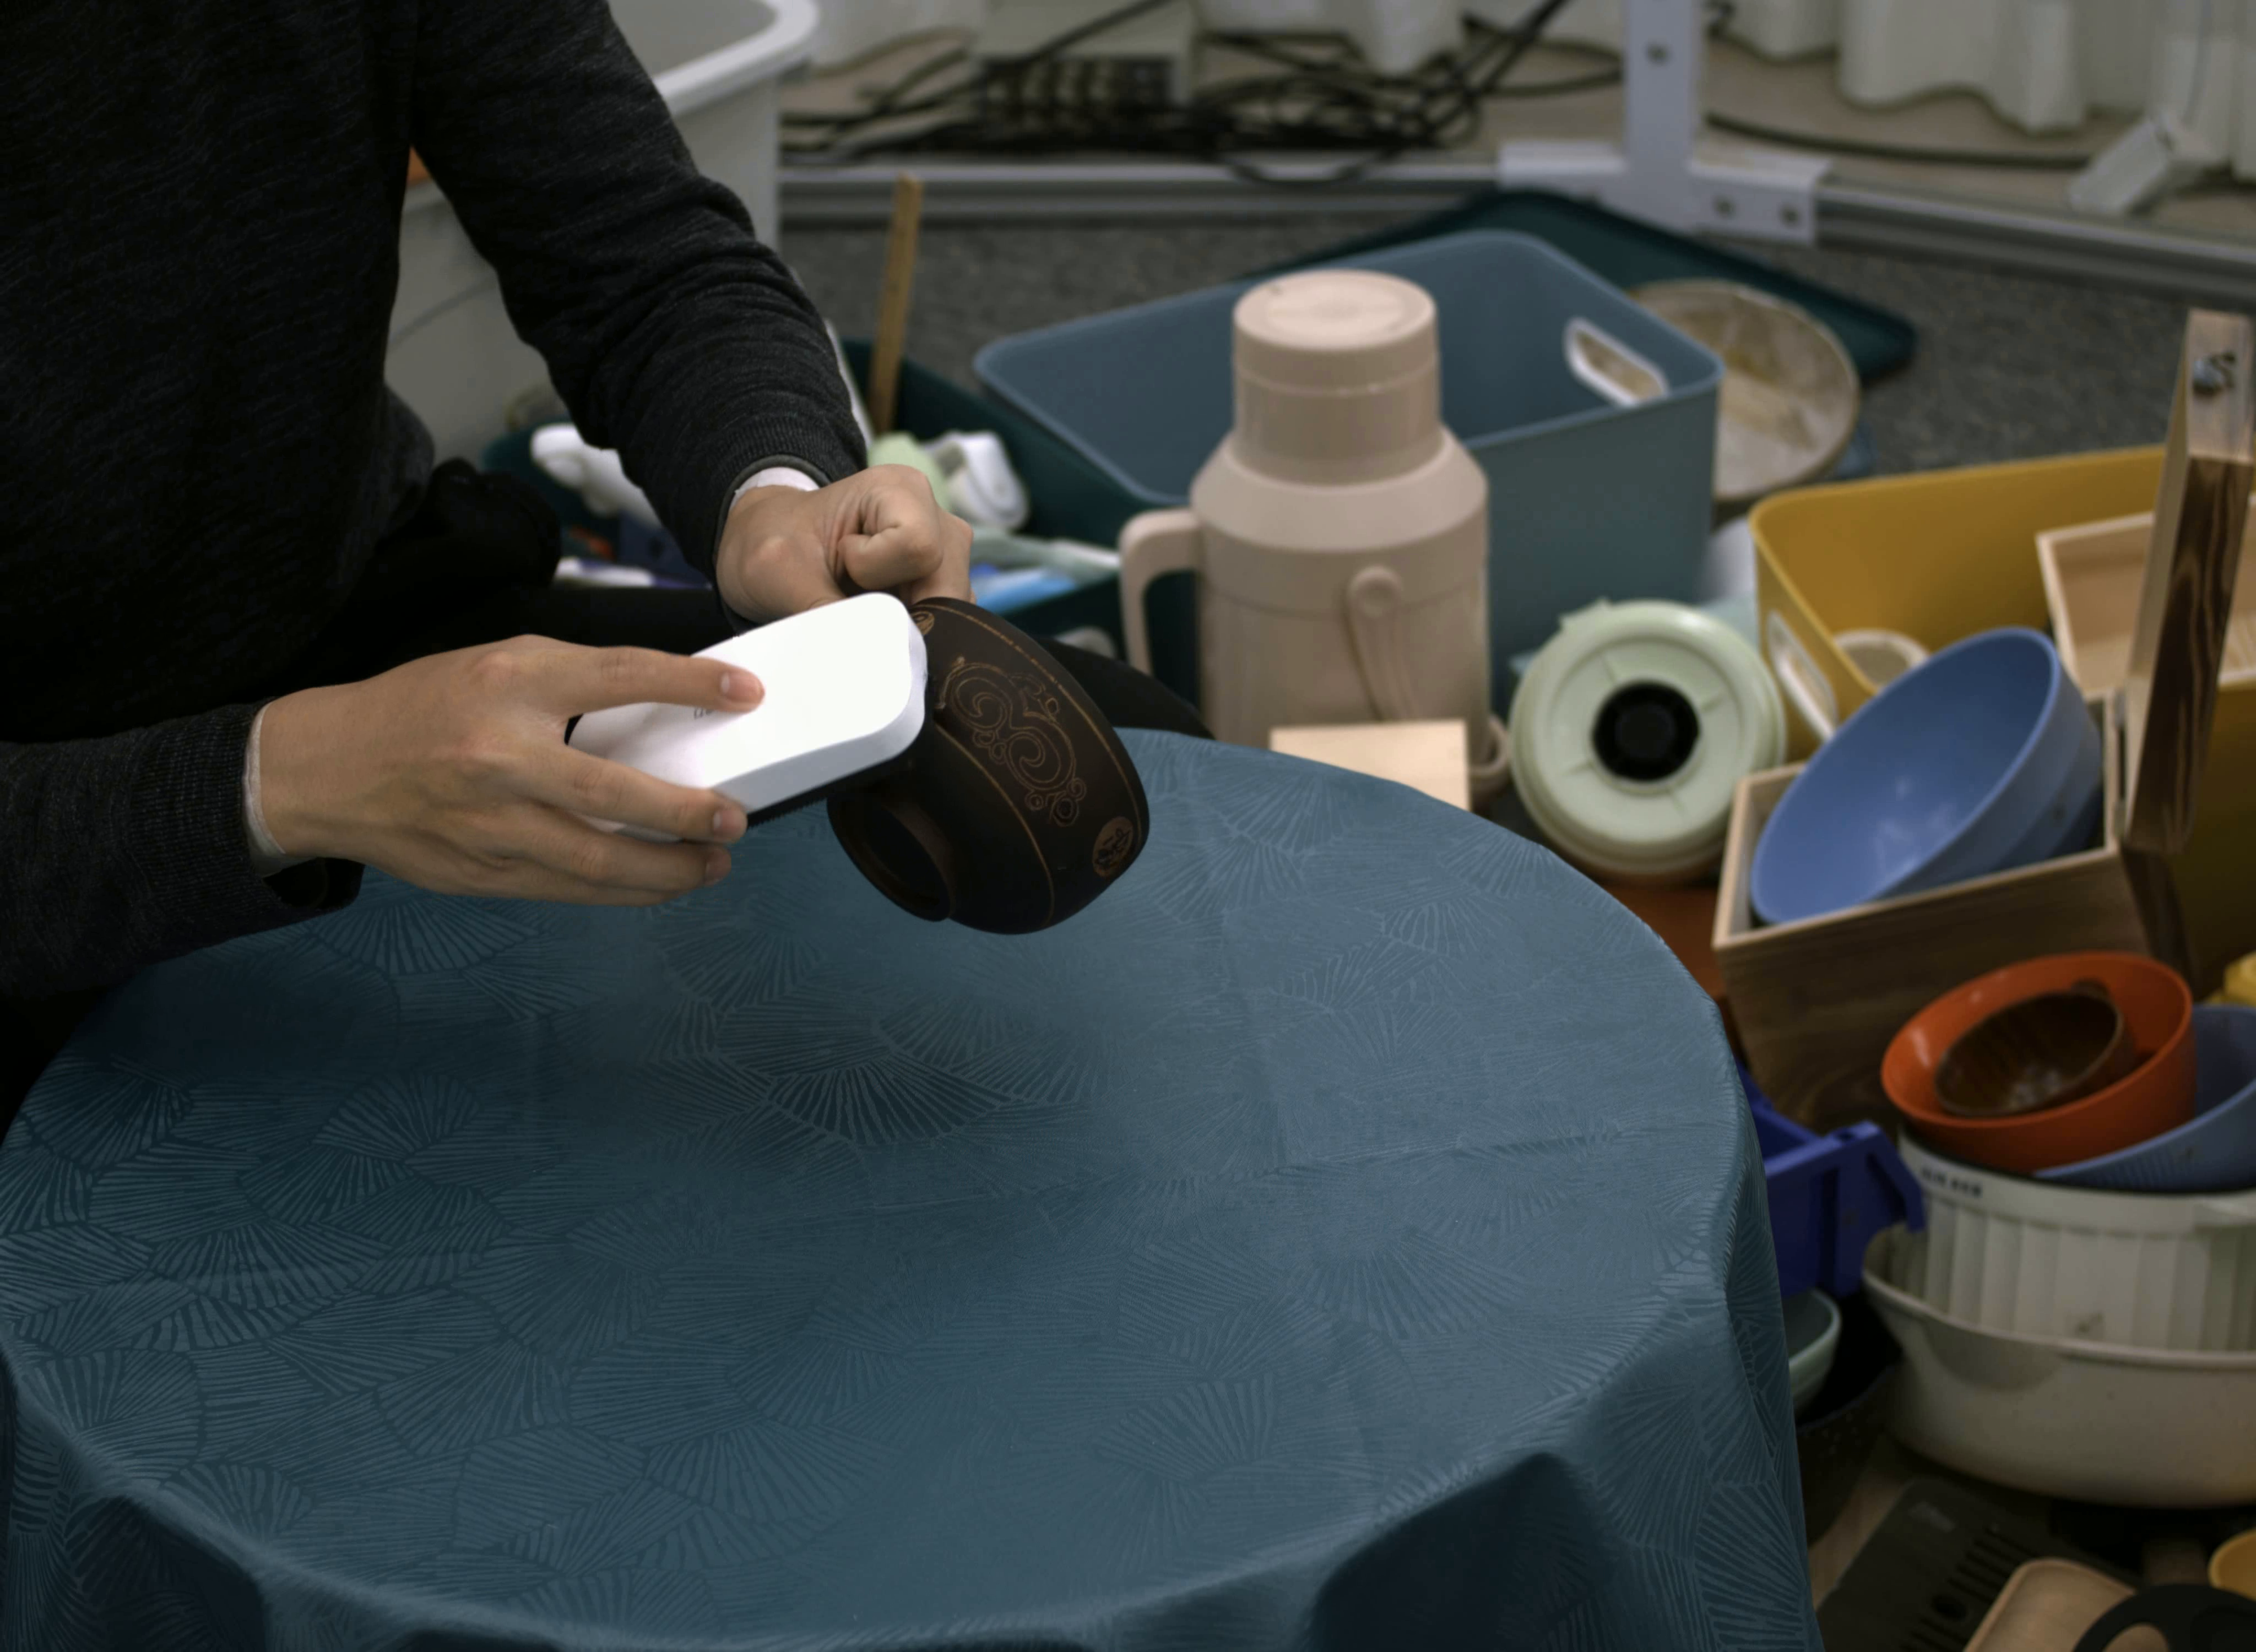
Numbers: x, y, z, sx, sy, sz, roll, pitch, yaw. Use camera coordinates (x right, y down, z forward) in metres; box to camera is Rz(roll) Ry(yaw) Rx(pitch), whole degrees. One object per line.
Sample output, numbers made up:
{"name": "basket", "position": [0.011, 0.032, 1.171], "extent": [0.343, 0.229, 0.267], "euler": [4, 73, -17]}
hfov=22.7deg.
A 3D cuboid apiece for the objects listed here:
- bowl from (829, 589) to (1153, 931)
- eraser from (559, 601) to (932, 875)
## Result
{"name": "bowl", "position": [-0.056, -0.013, 1.873], "extent": [0.118, 0.116, 0.071], "euler": [23, 56, 40]}
{"name": "eraser", "position": [-0.125, -0.030, 1.833], "extent": [0.130, 0.034, 0.064], "euler": [-19, 46, 19]}
